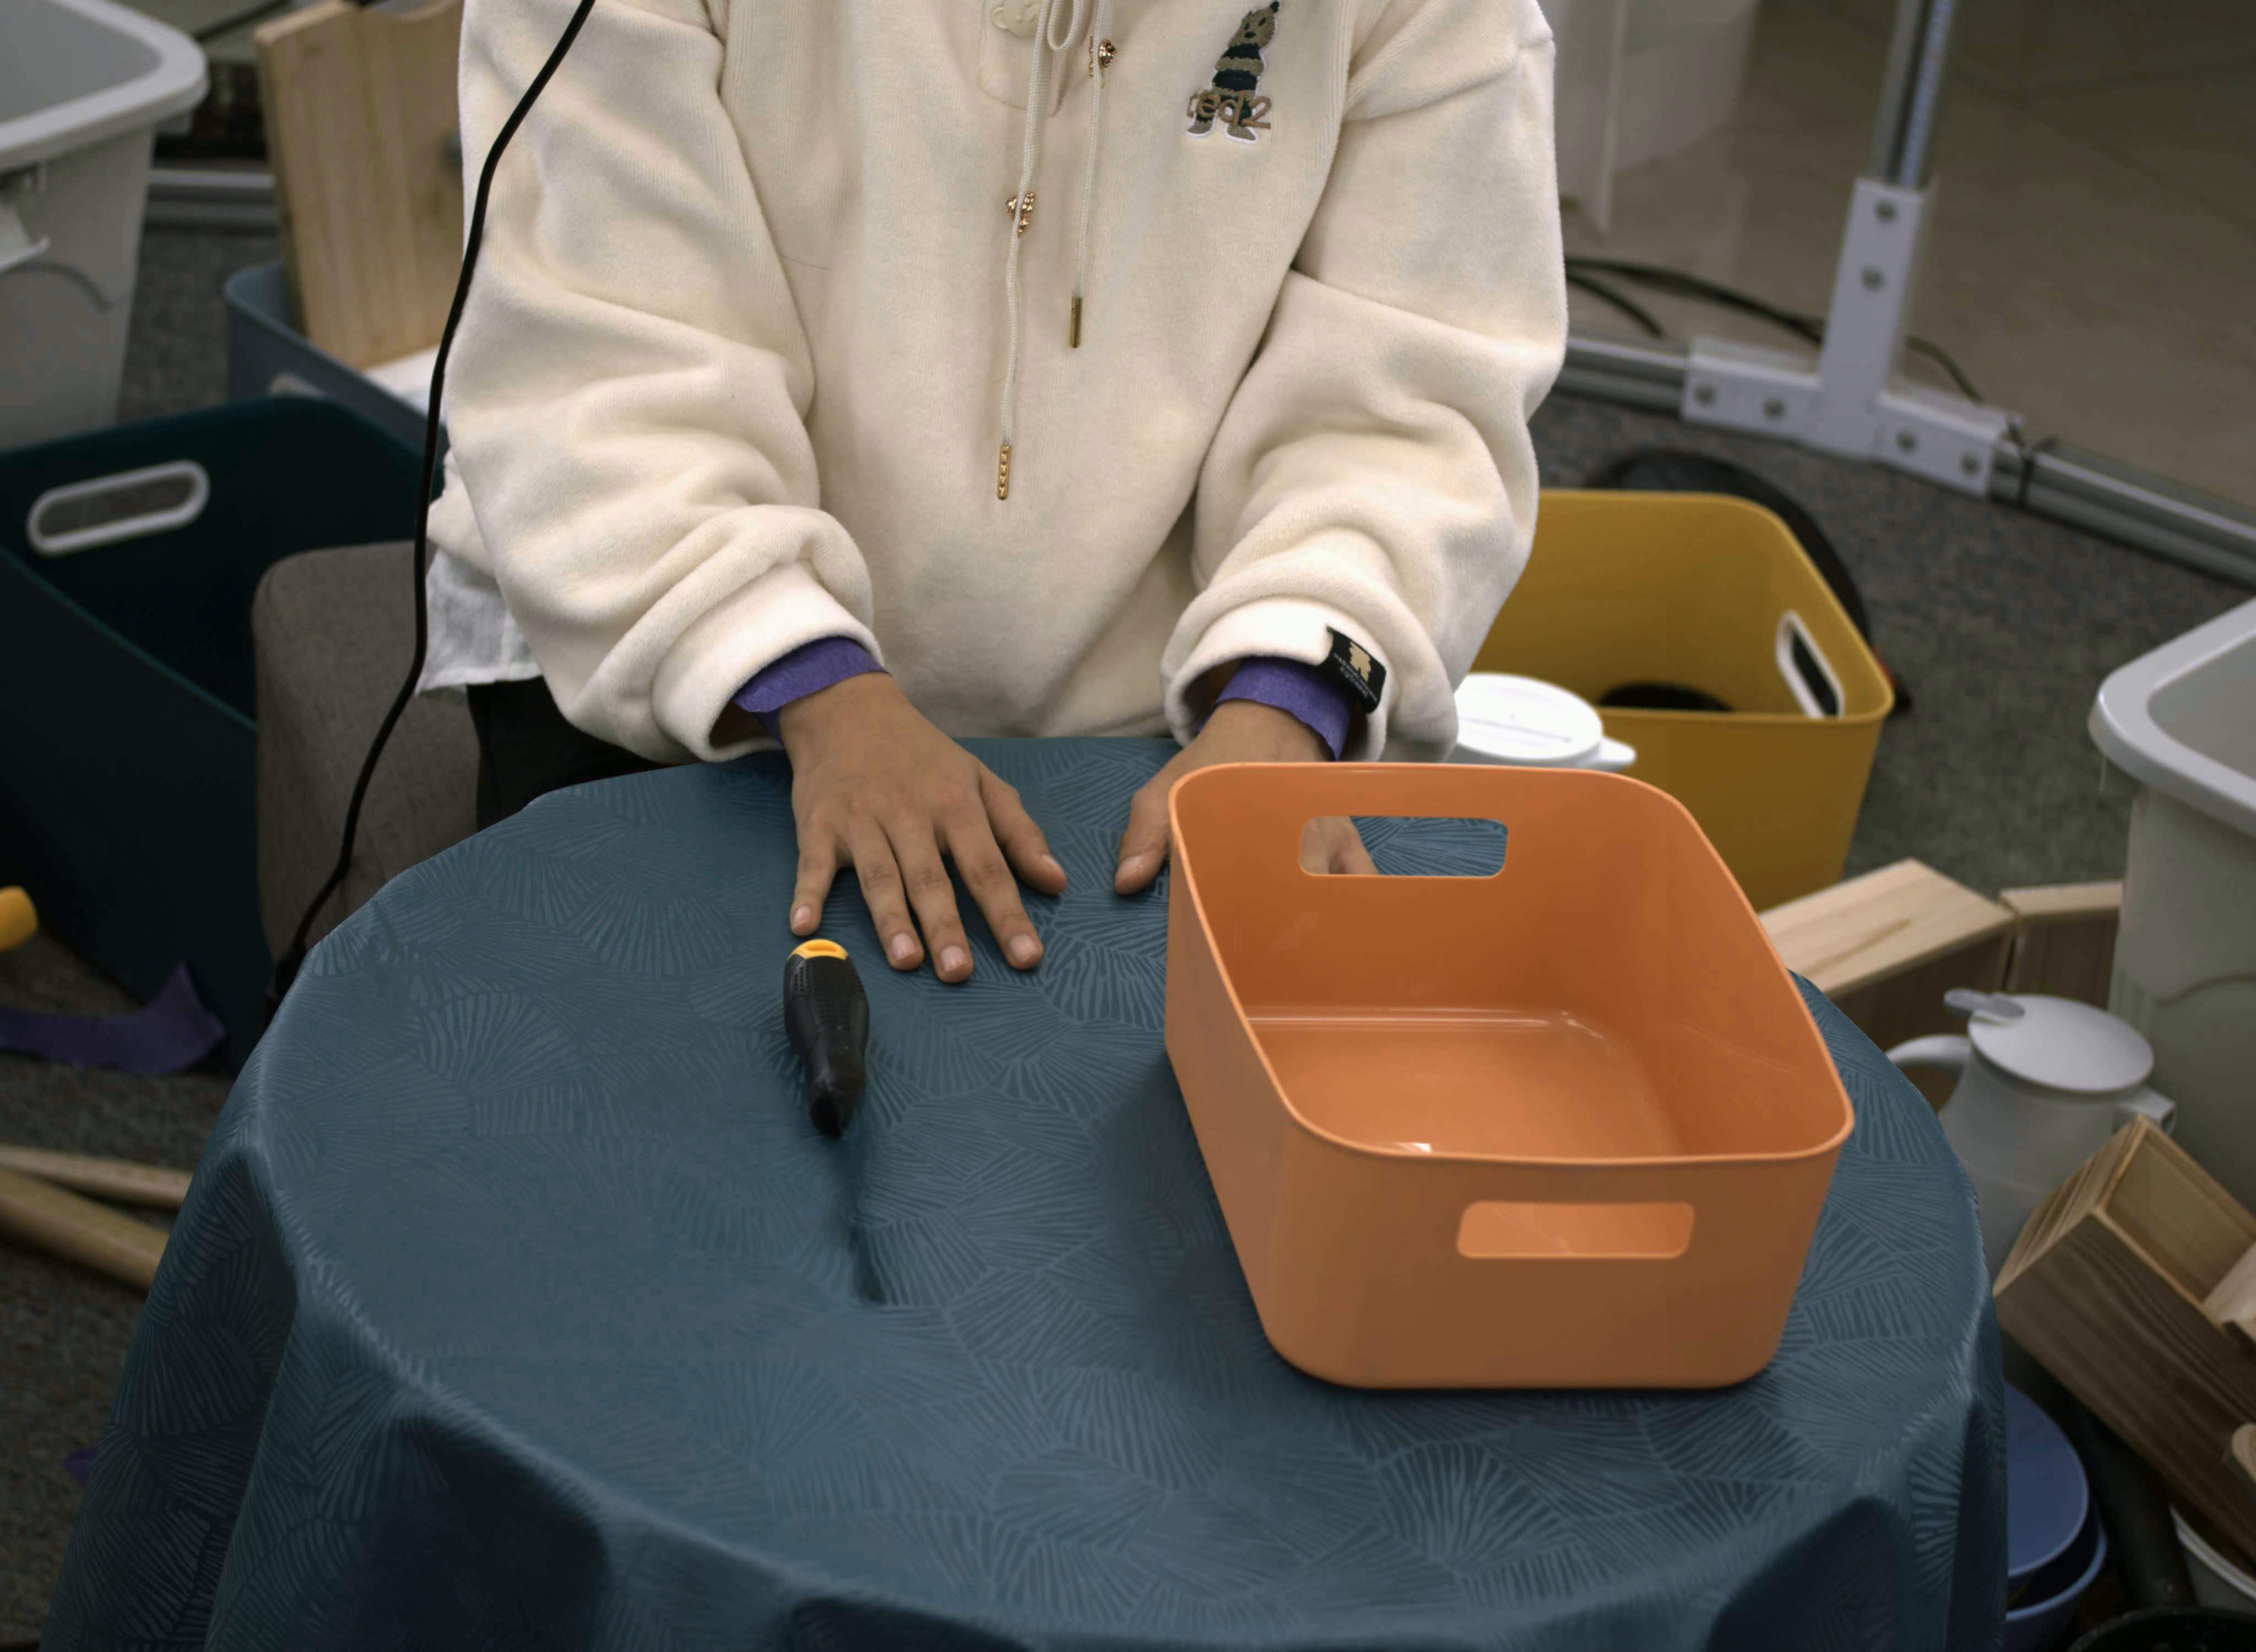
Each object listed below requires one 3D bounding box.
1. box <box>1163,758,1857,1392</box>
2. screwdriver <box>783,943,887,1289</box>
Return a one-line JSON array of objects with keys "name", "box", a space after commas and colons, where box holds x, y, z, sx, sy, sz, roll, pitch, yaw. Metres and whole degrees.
[{"name": "box", "box": [0.119, 0.083, 1.793, 0.198, 0.102, 0.275, 0, 28, -11]}, {"name": "screwdriver", "box": [-0.099, 0.099, 1.806, 0.031, 0.031, 0.199, 3, 30, -8]}]
